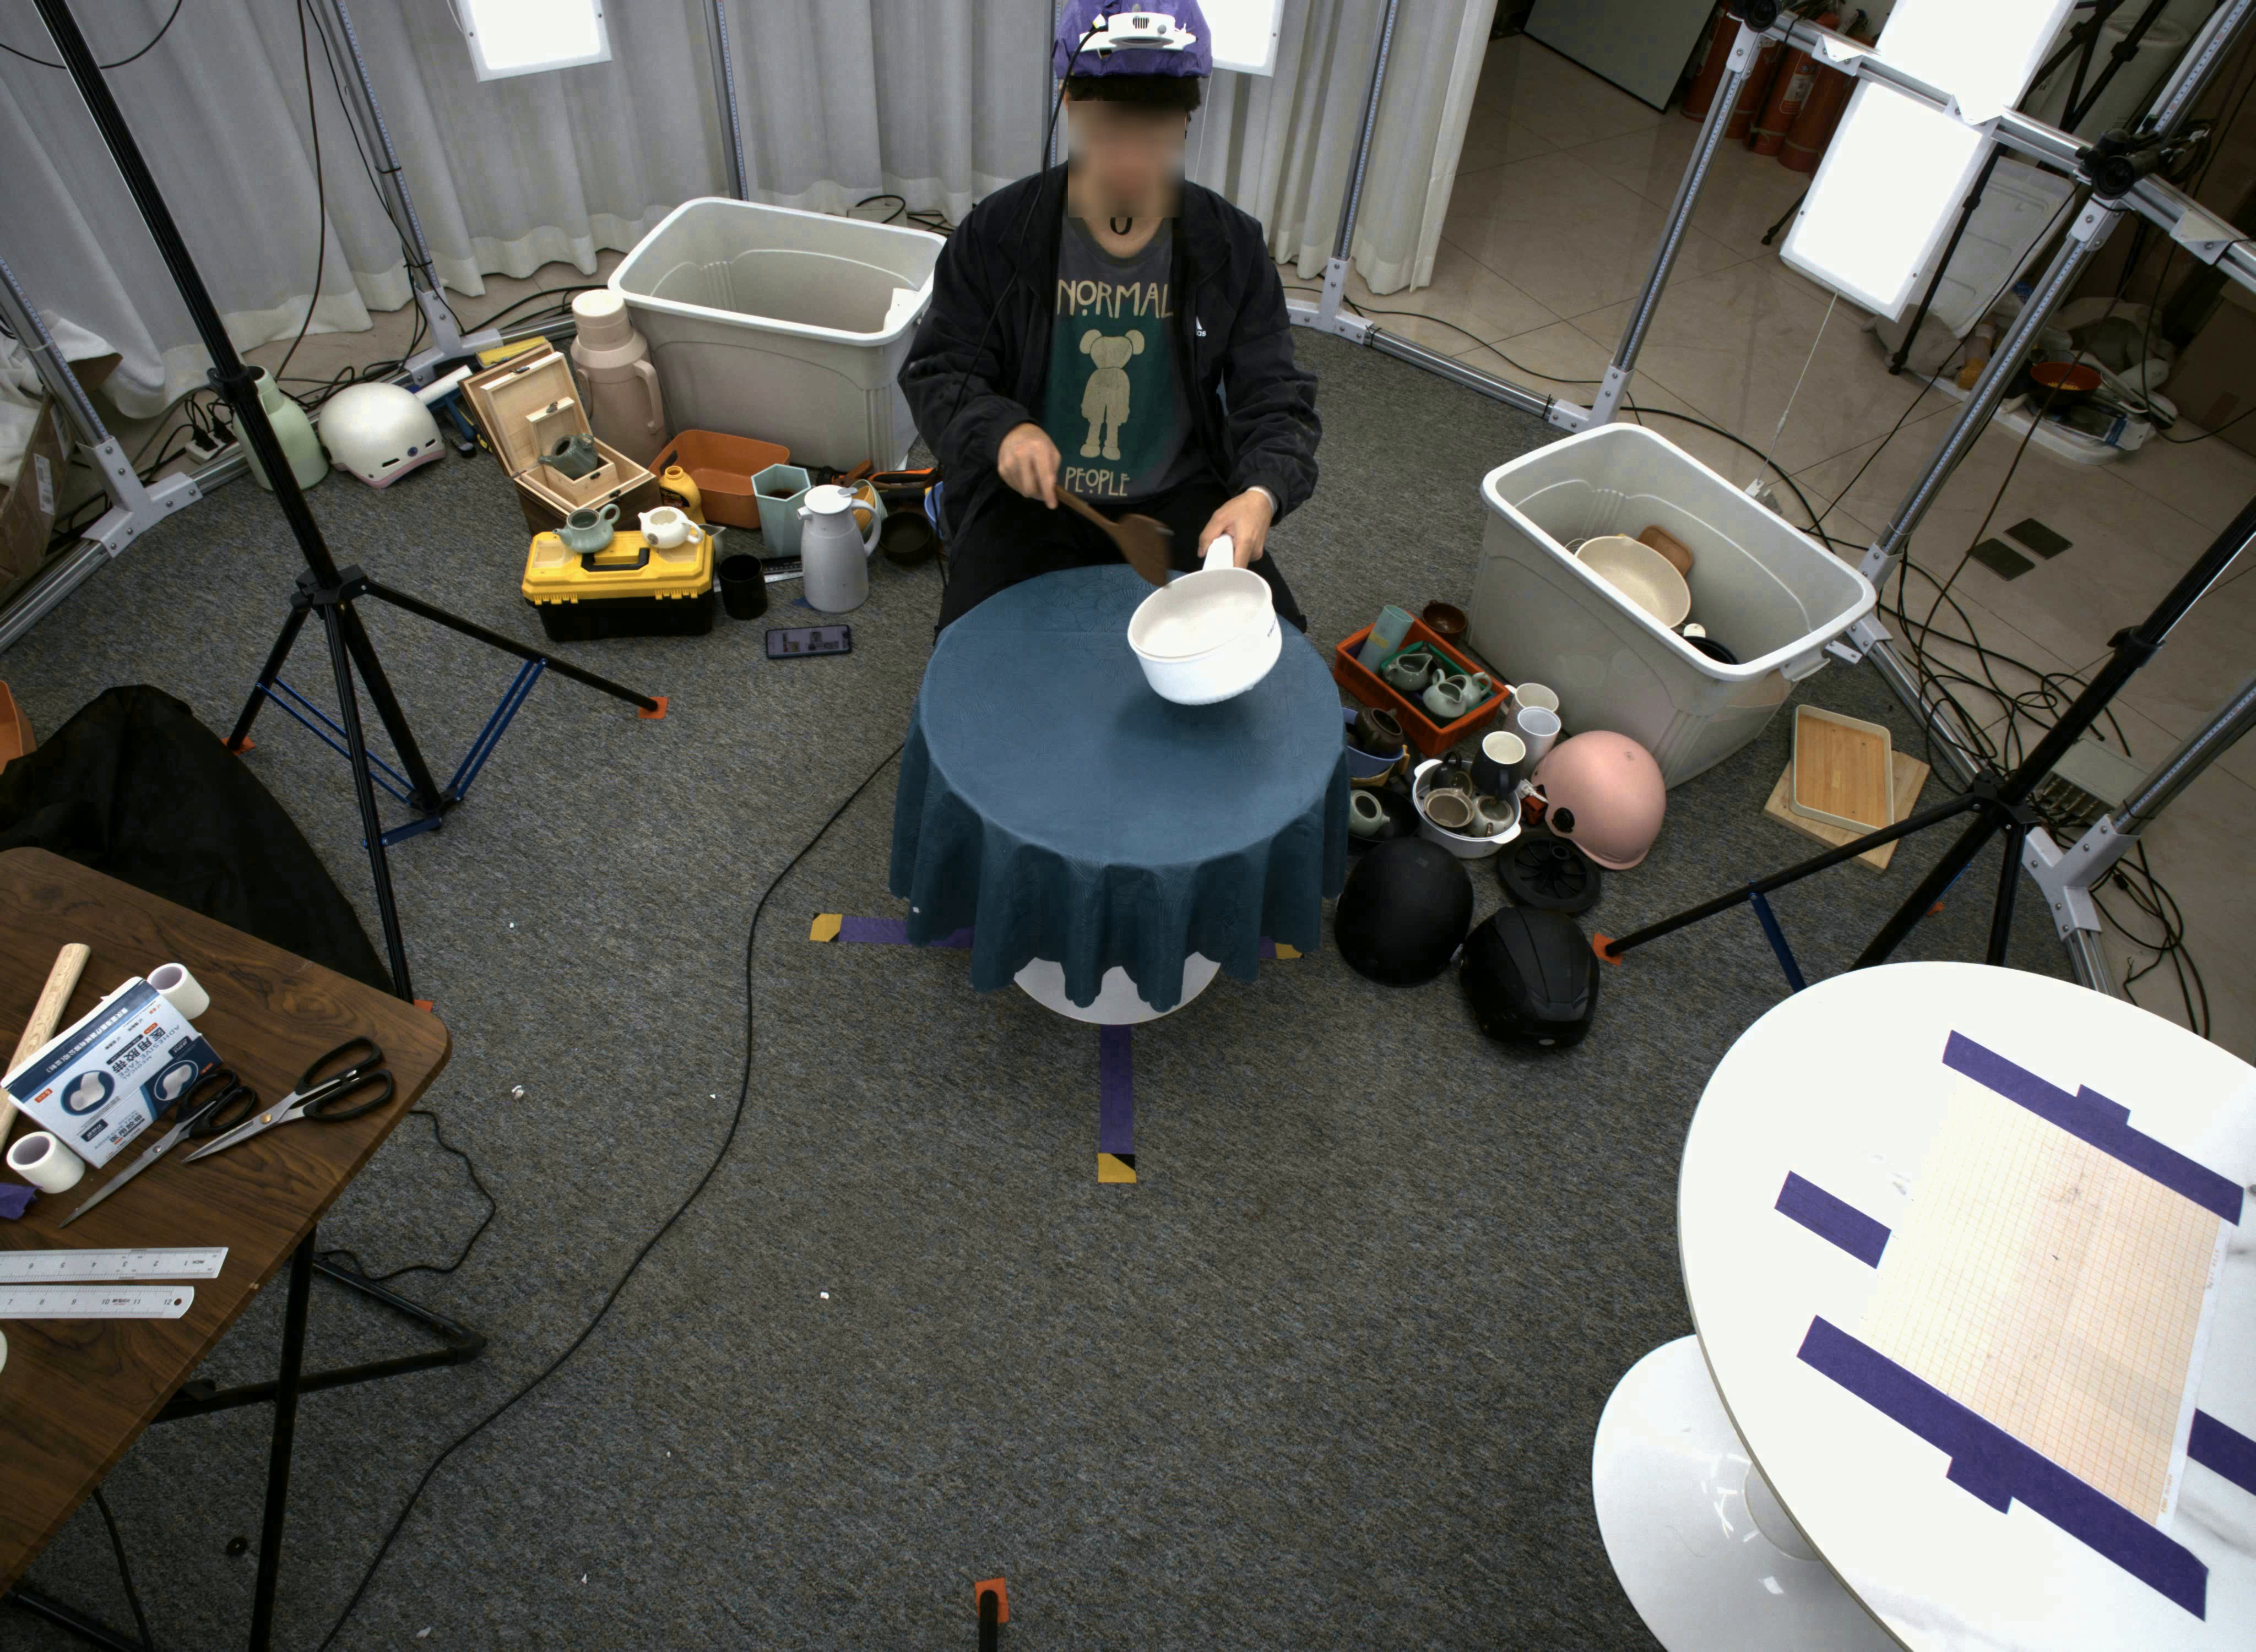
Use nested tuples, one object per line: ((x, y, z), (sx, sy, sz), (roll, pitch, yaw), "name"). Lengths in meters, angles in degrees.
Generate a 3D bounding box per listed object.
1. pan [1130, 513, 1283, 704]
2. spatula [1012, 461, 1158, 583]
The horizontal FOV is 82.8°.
((0.129, -0.306, 1.807), (0.201, 0.100, 0.363), (-7, 39, 23), "pan")
((-0.066, -0.433, 1.760), (0.016, 0.094, 0.394), (-28, 41, -16), "spatula")
